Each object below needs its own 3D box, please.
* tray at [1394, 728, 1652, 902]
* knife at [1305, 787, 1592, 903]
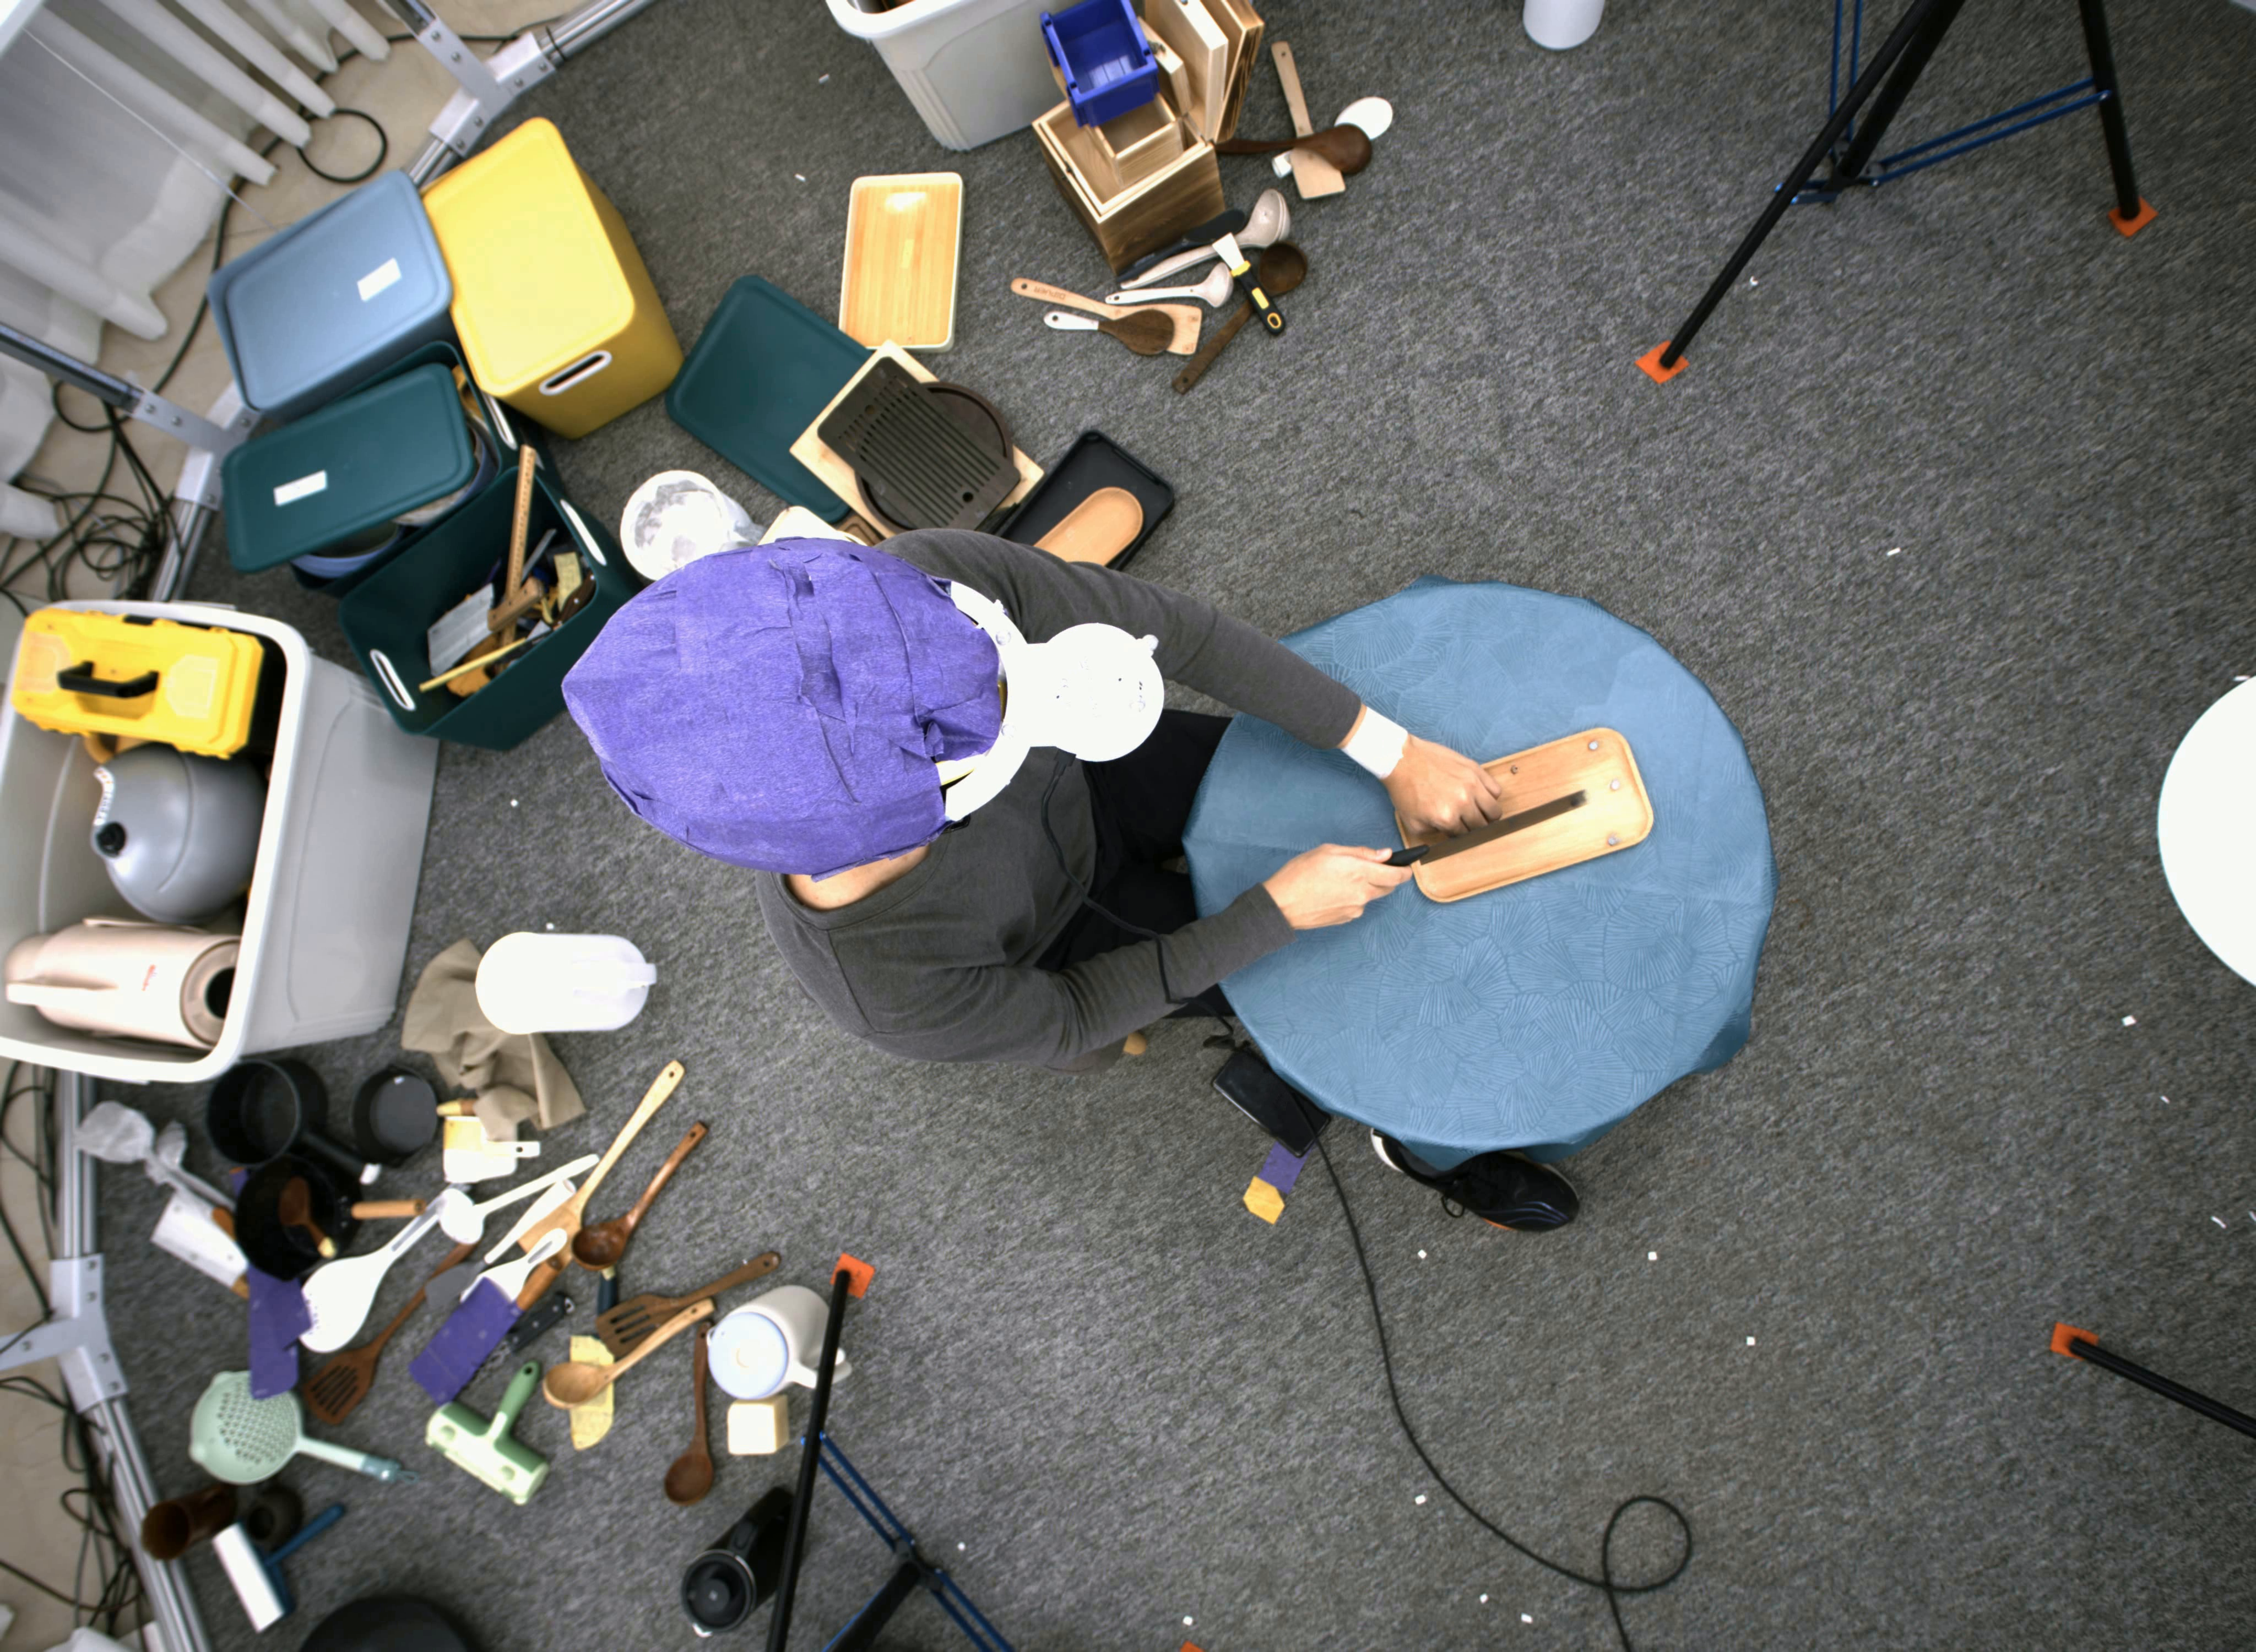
[{"bbox_3d":[0.410,-0.013,1.431,0.252,0.023,0.129,-17,81,10],"label":"tray"},{"bbox_3d":[0.322,0.018,1.386,0.303,0.082,0.020,-19,71,6],"label":"knife"}]
